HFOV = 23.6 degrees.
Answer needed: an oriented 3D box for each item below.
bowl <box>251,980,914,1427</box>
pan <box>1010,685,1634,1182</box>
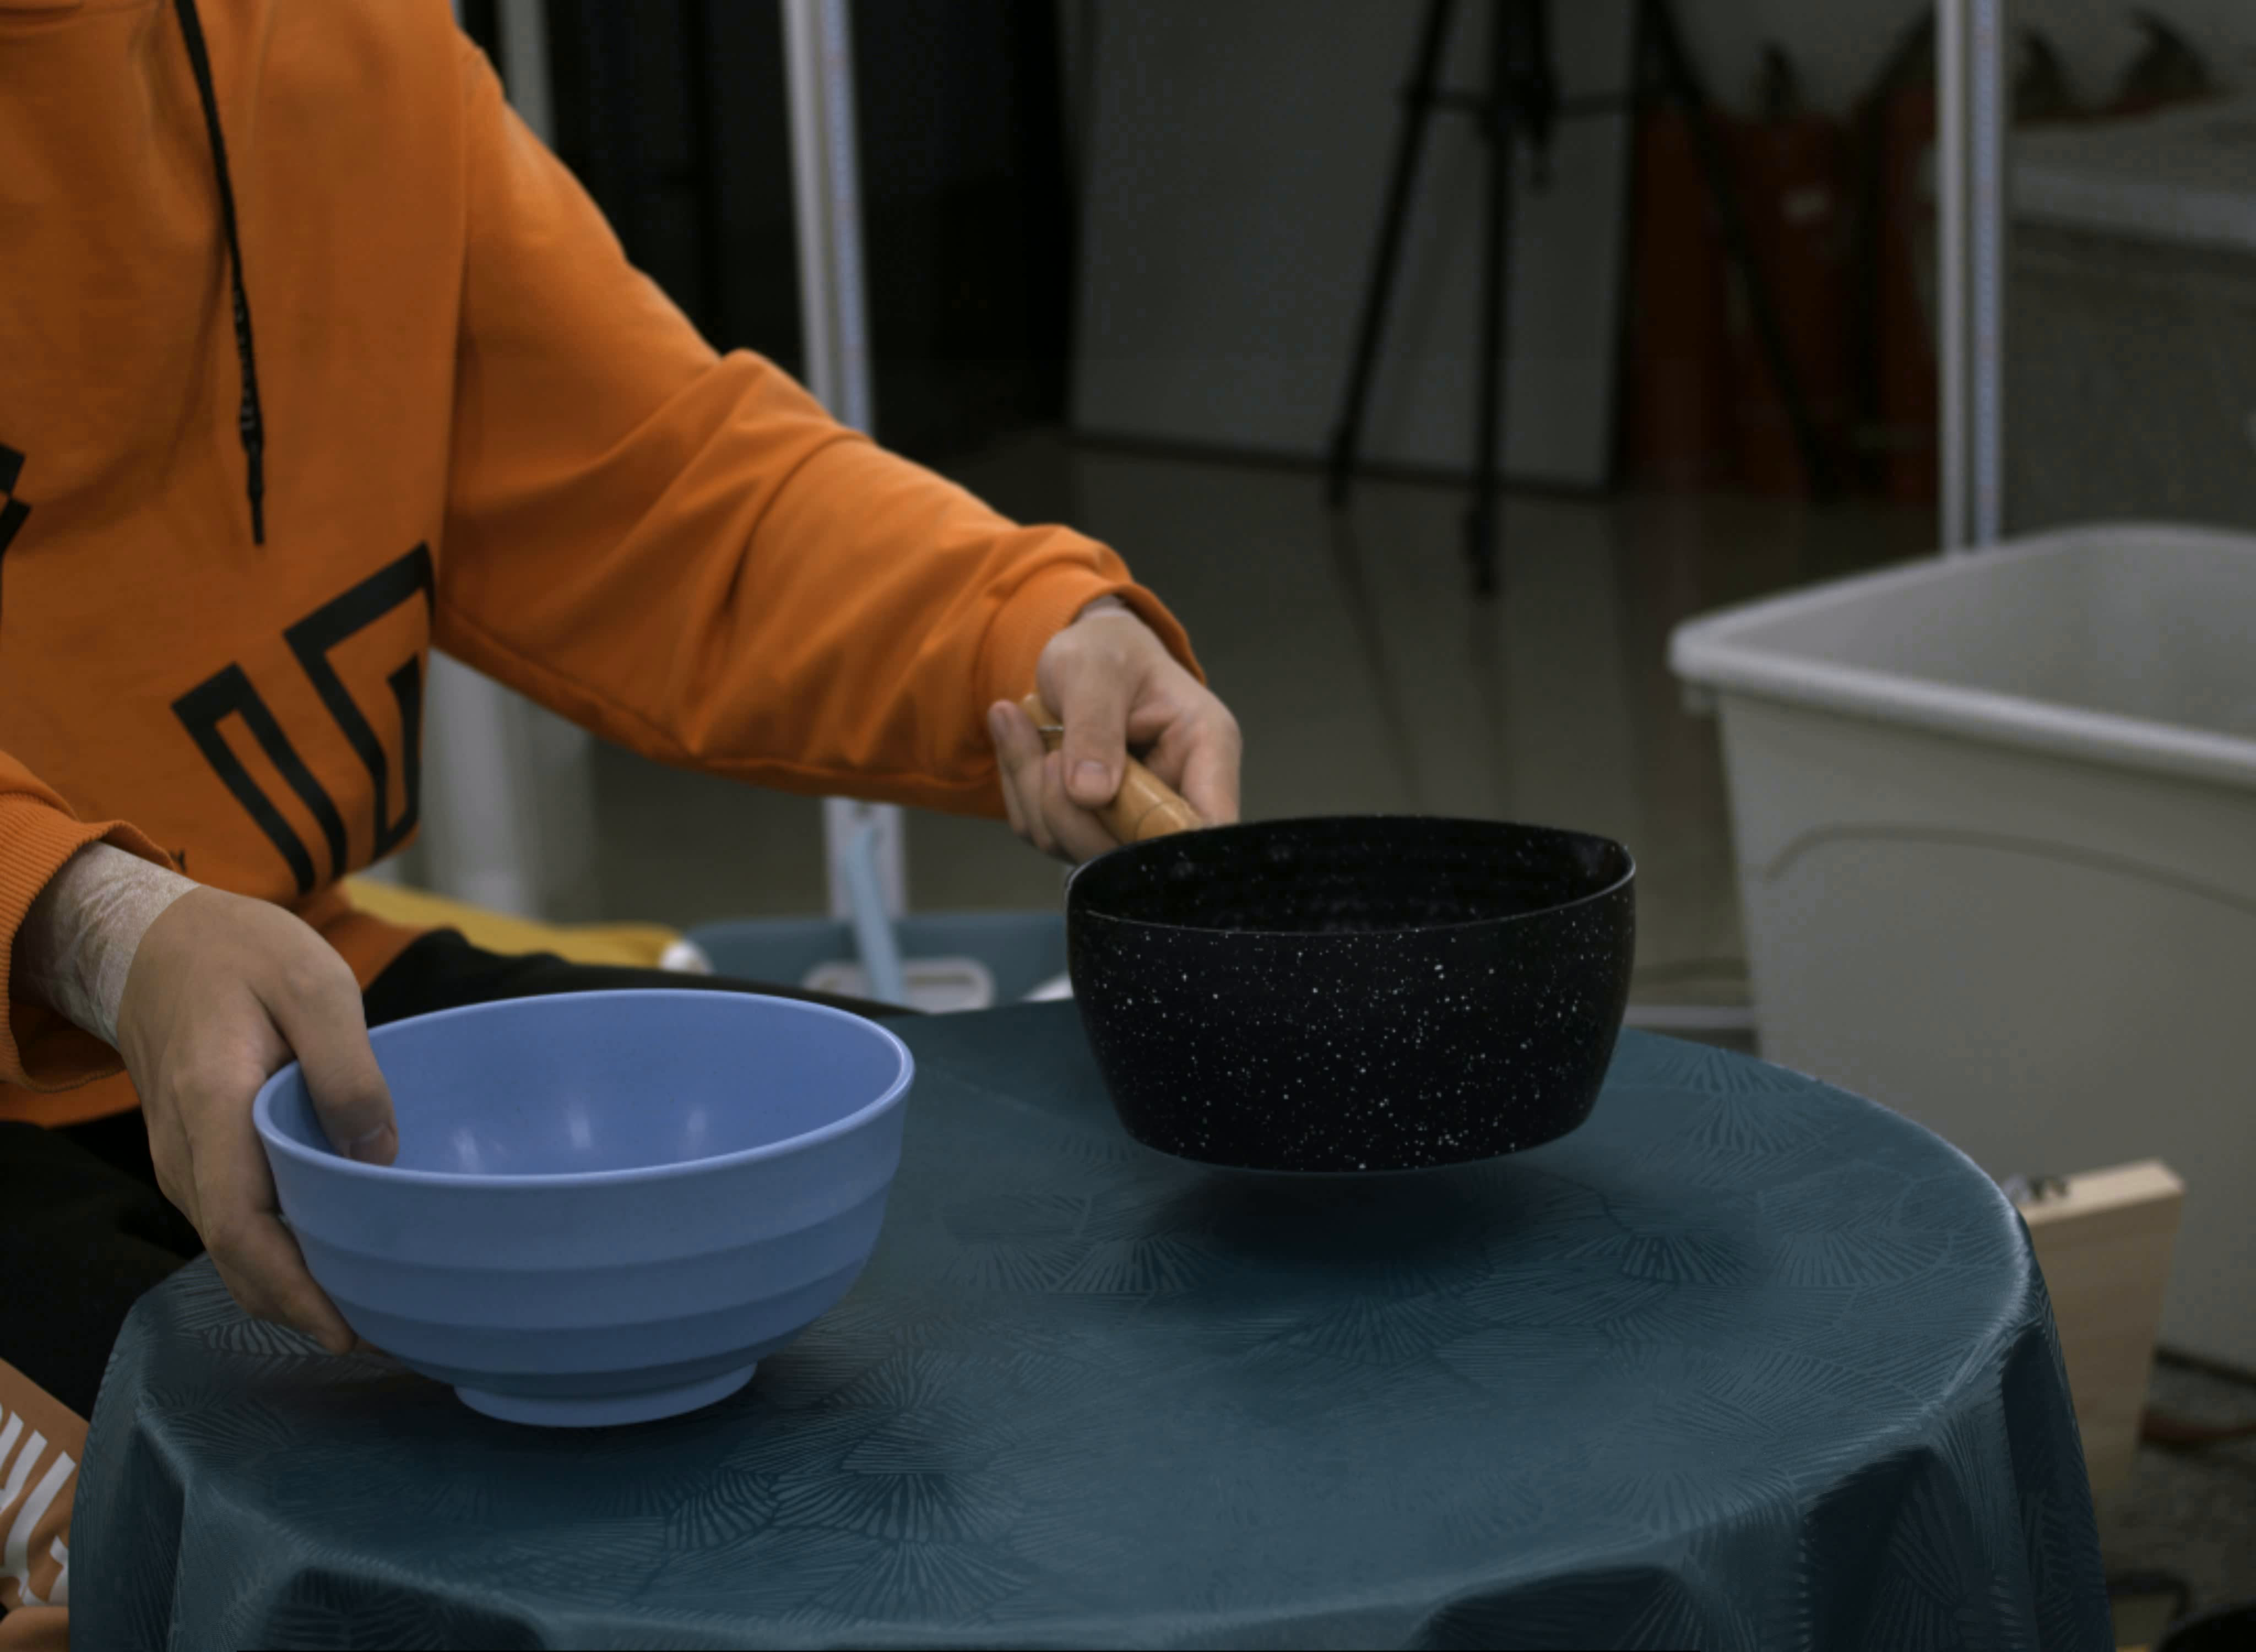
[{"bbox_3d":[-0.157,0.117,1.601,0.194,0.096,0.197,-3,14,0],"label":"bowl"},{"bbox_3d":[0.037,0.030,1.796,0.203,0.109,0.346,-9,13,-24],"label":"pan"}]
